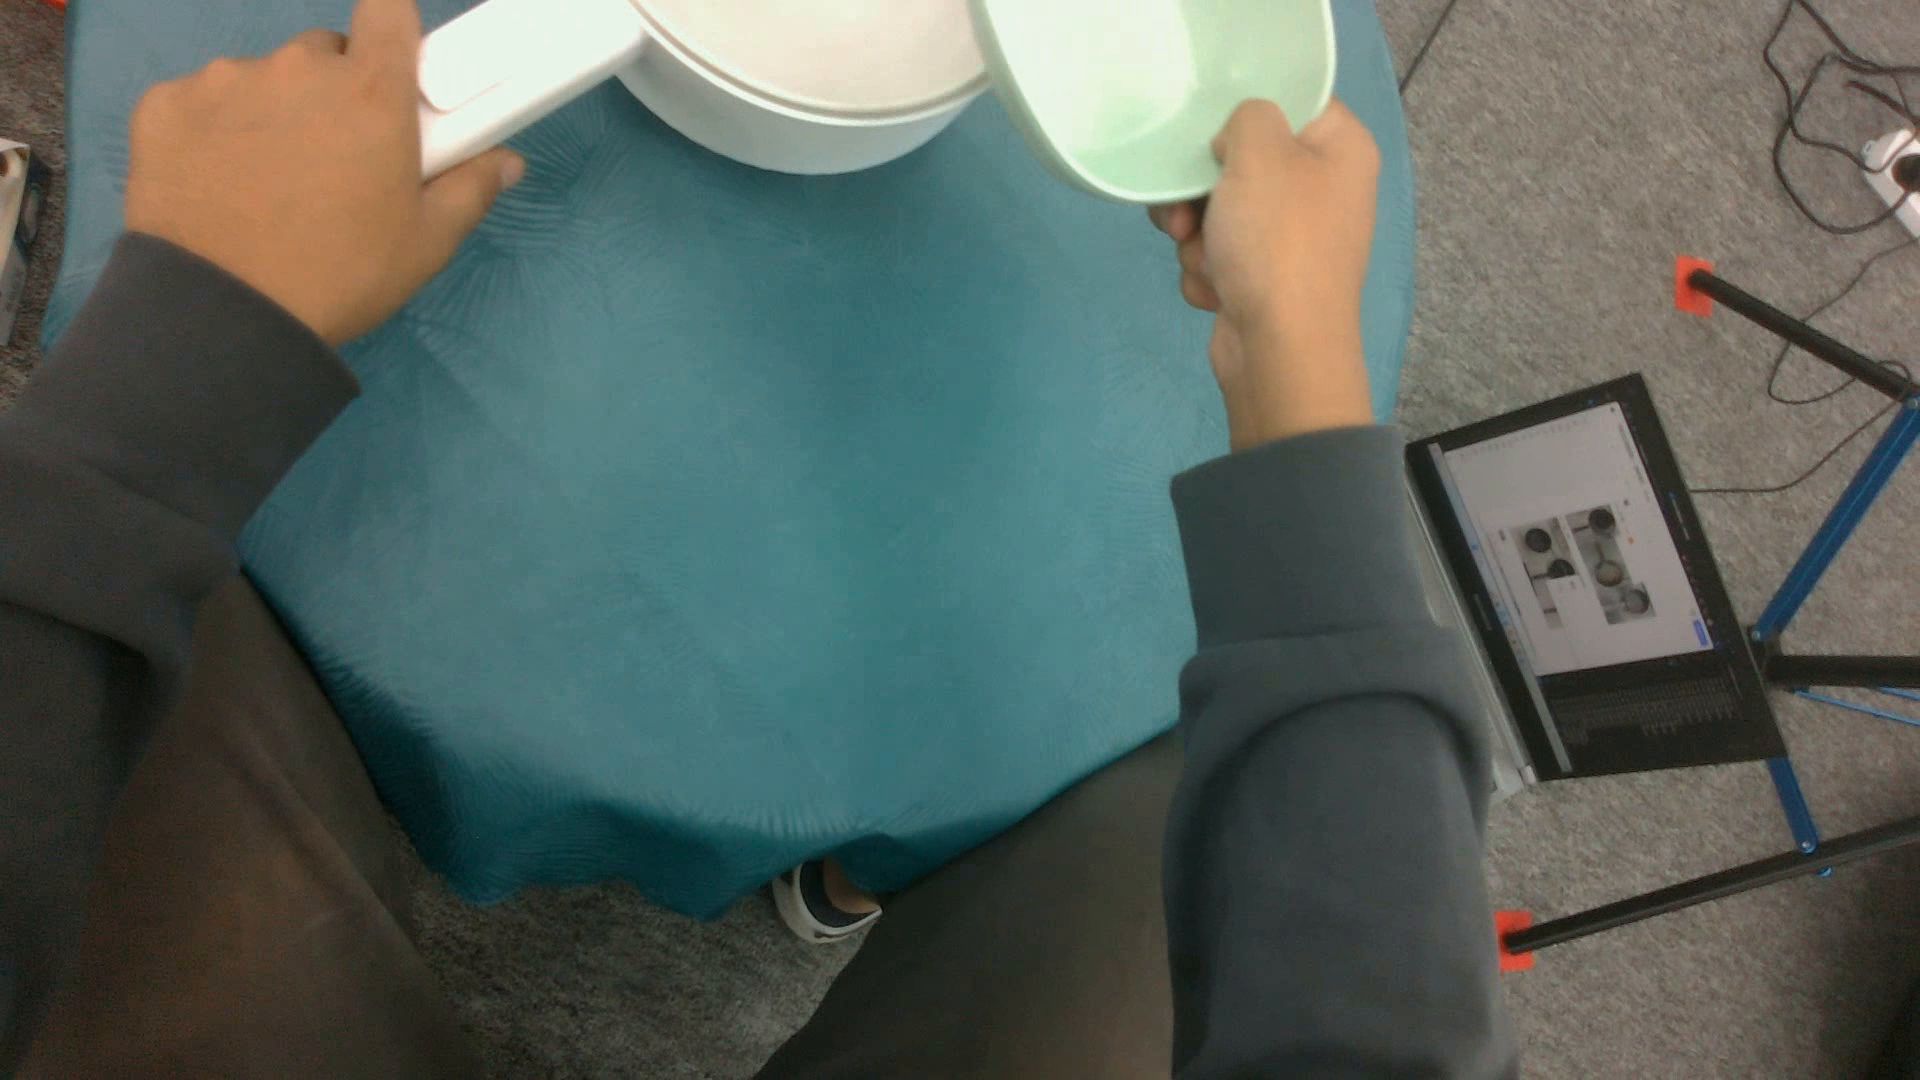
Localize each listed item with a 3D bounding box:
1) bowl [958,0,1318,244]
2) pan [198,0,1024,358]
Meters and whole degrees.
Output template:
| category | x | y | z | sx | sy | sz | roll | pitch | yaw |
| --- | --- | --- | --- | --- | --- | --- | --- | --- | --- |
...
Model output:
| category | x | y | z | sx | sy | sz | roll | pitch | yaw |
| --- | --- | --- | --- | --- | --- | --- | --- | --- | --- |
| bowl | 0.059 | -0.177 | 0.524 | 0.152 | 0.058 | 0.151 | 2 | 85 | -24 |
| pan | -0.135 | -0.191 | 0.560 | 0.356 | 0.102 | 0.201 | -43 | 100 | -16 |
